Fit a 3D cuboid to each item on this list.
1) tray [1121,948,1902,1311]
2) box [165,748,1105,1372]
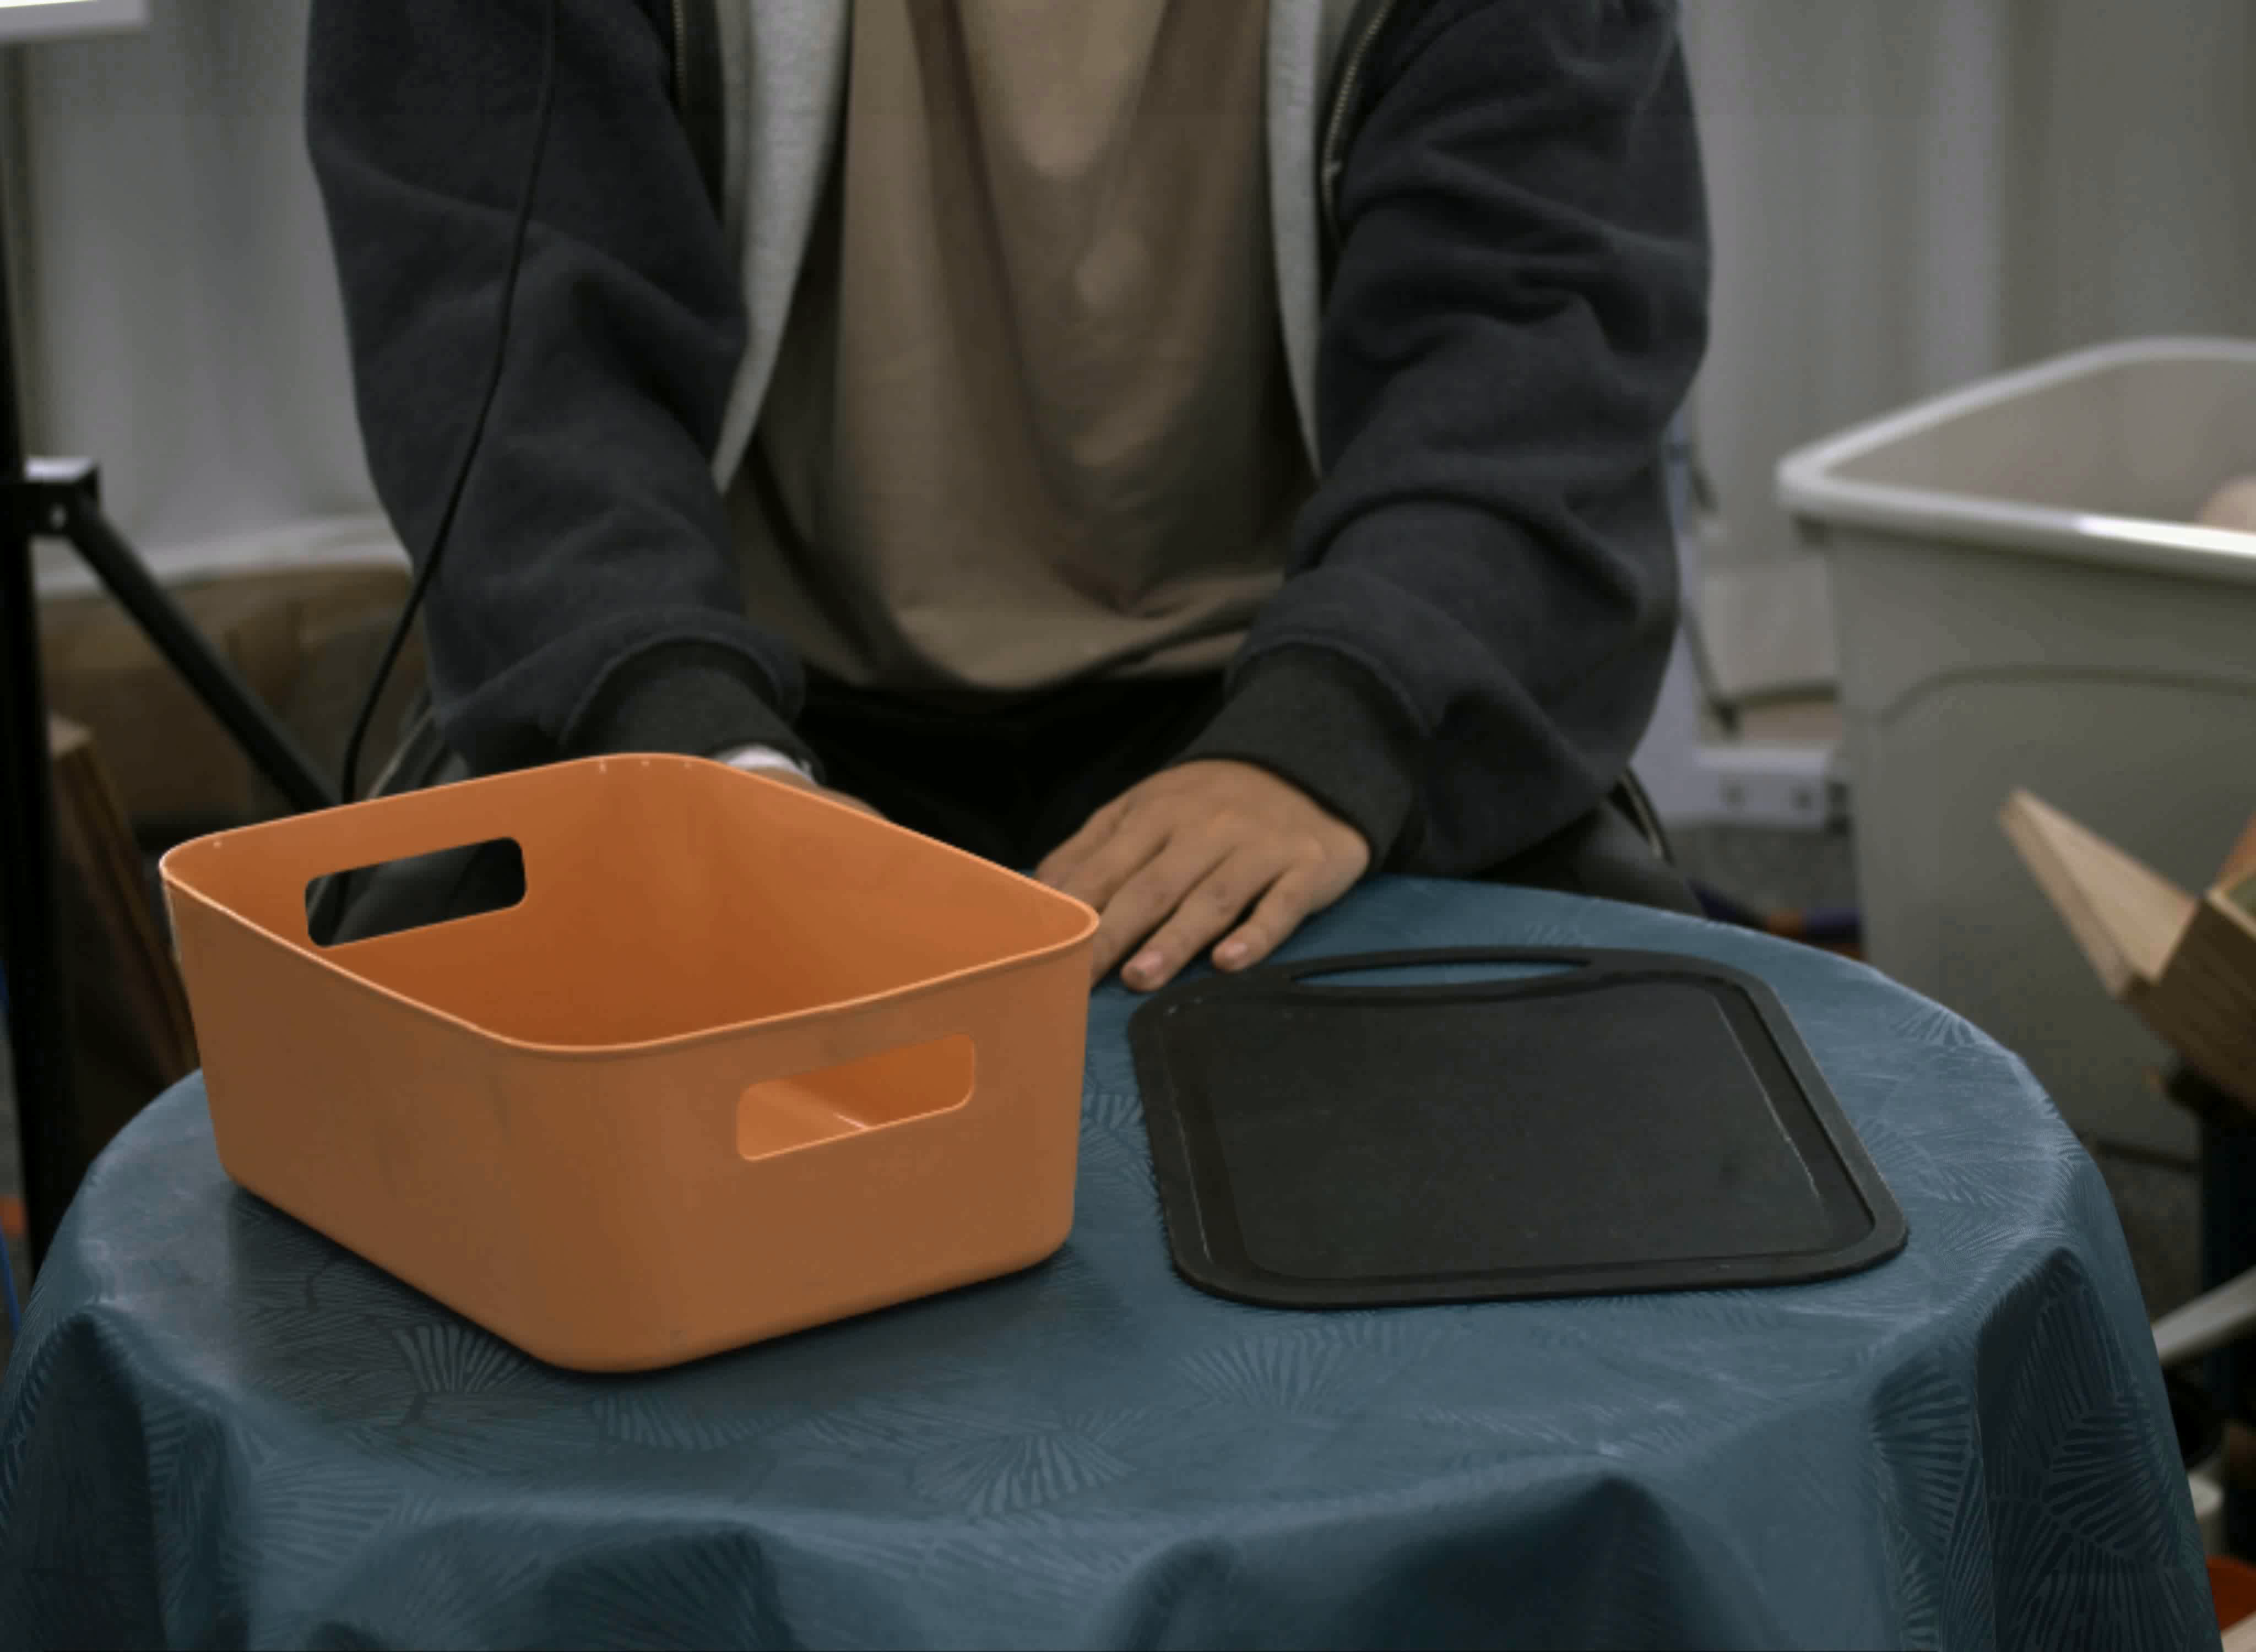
[{"bbox_3d":[0.108,0.085,1.611,0.210,0.010,0.327,-3,16,-2],"label":"tray"},{"bbox_3d":[-0.143,0.064,1.549,0.195,0.102,0.279,-13,19,-32],"label":"box"}]
